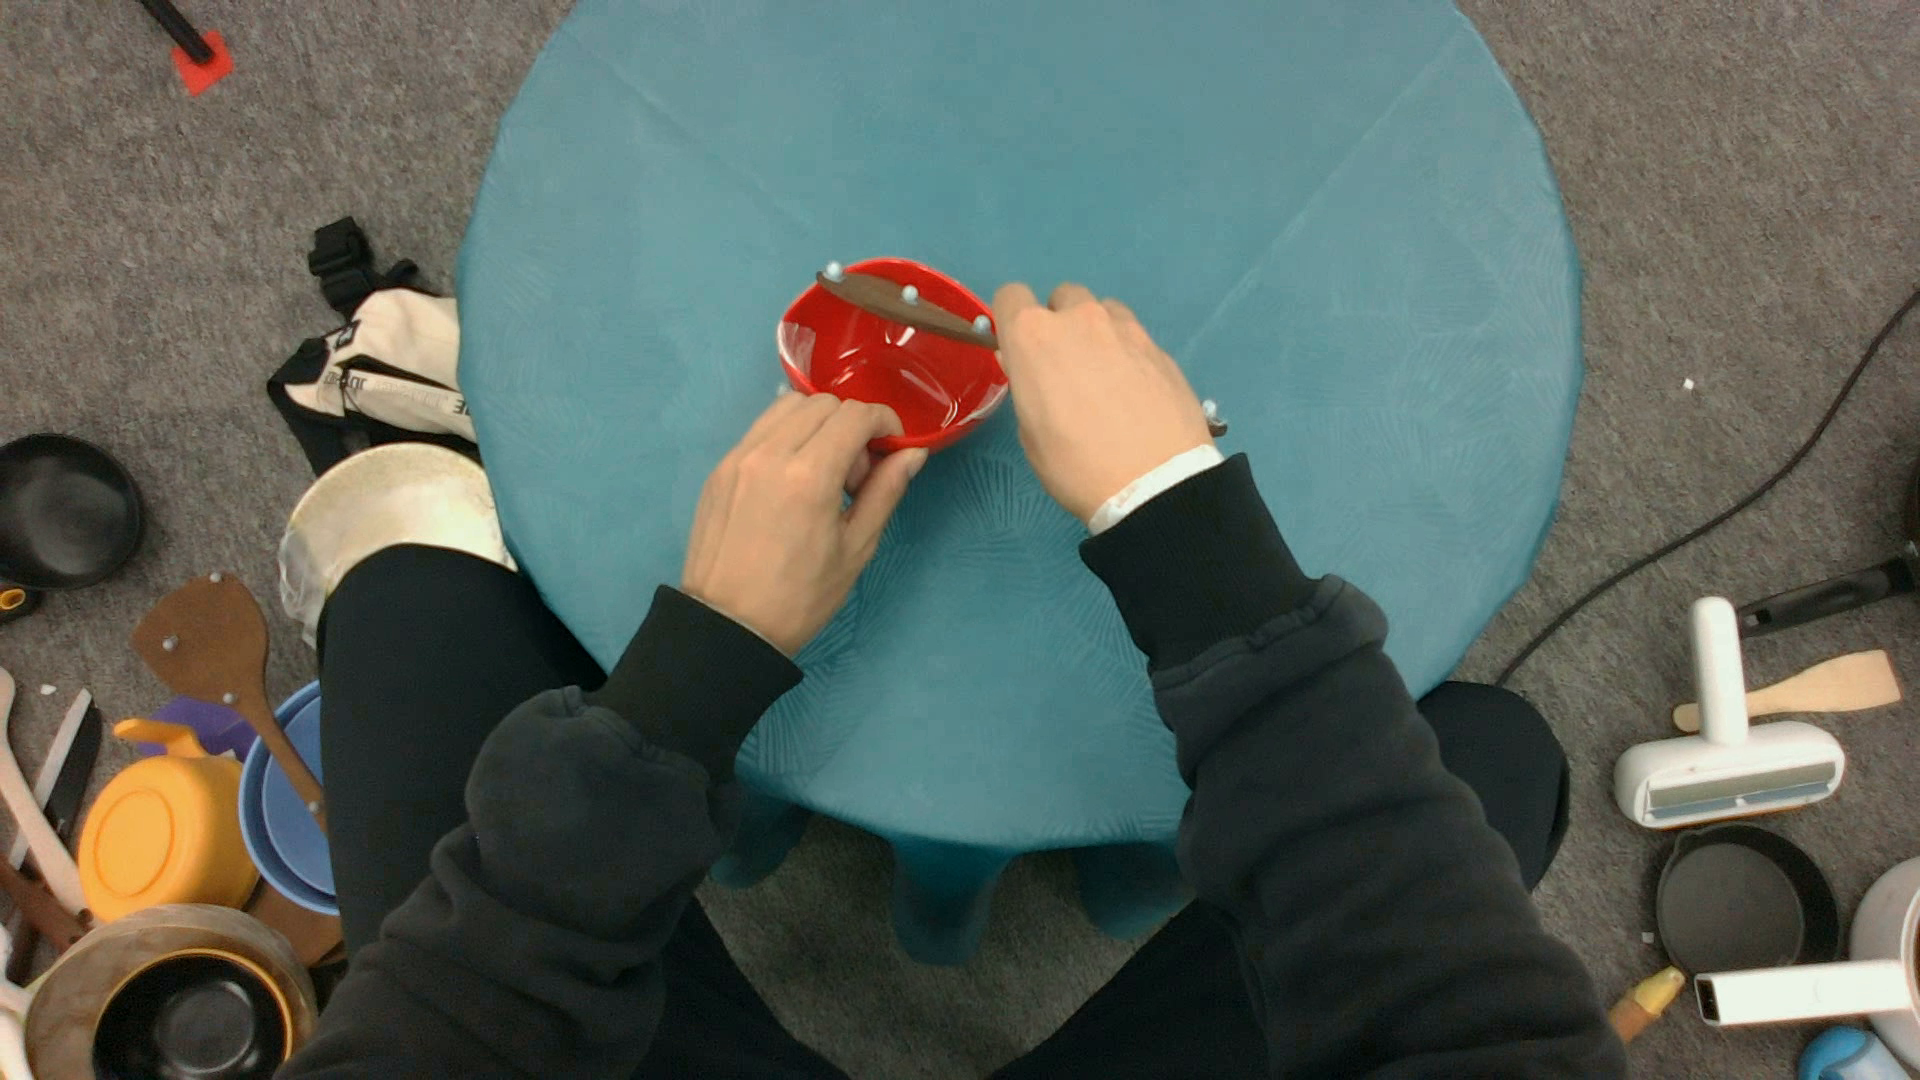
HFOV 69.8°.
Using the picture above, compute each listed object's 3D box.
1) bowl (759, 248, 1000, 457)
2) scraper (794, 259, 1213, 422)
[{"bbox_3d":[-0.043,-0.086,0.687,0.119,0.051,0.119,8,53,-10],"label":"bowl"},{"bbox_3d":[0.020,-0.093,0.636,0.211,0.076,0.011,25,109,24],"label":"scraper"}]
